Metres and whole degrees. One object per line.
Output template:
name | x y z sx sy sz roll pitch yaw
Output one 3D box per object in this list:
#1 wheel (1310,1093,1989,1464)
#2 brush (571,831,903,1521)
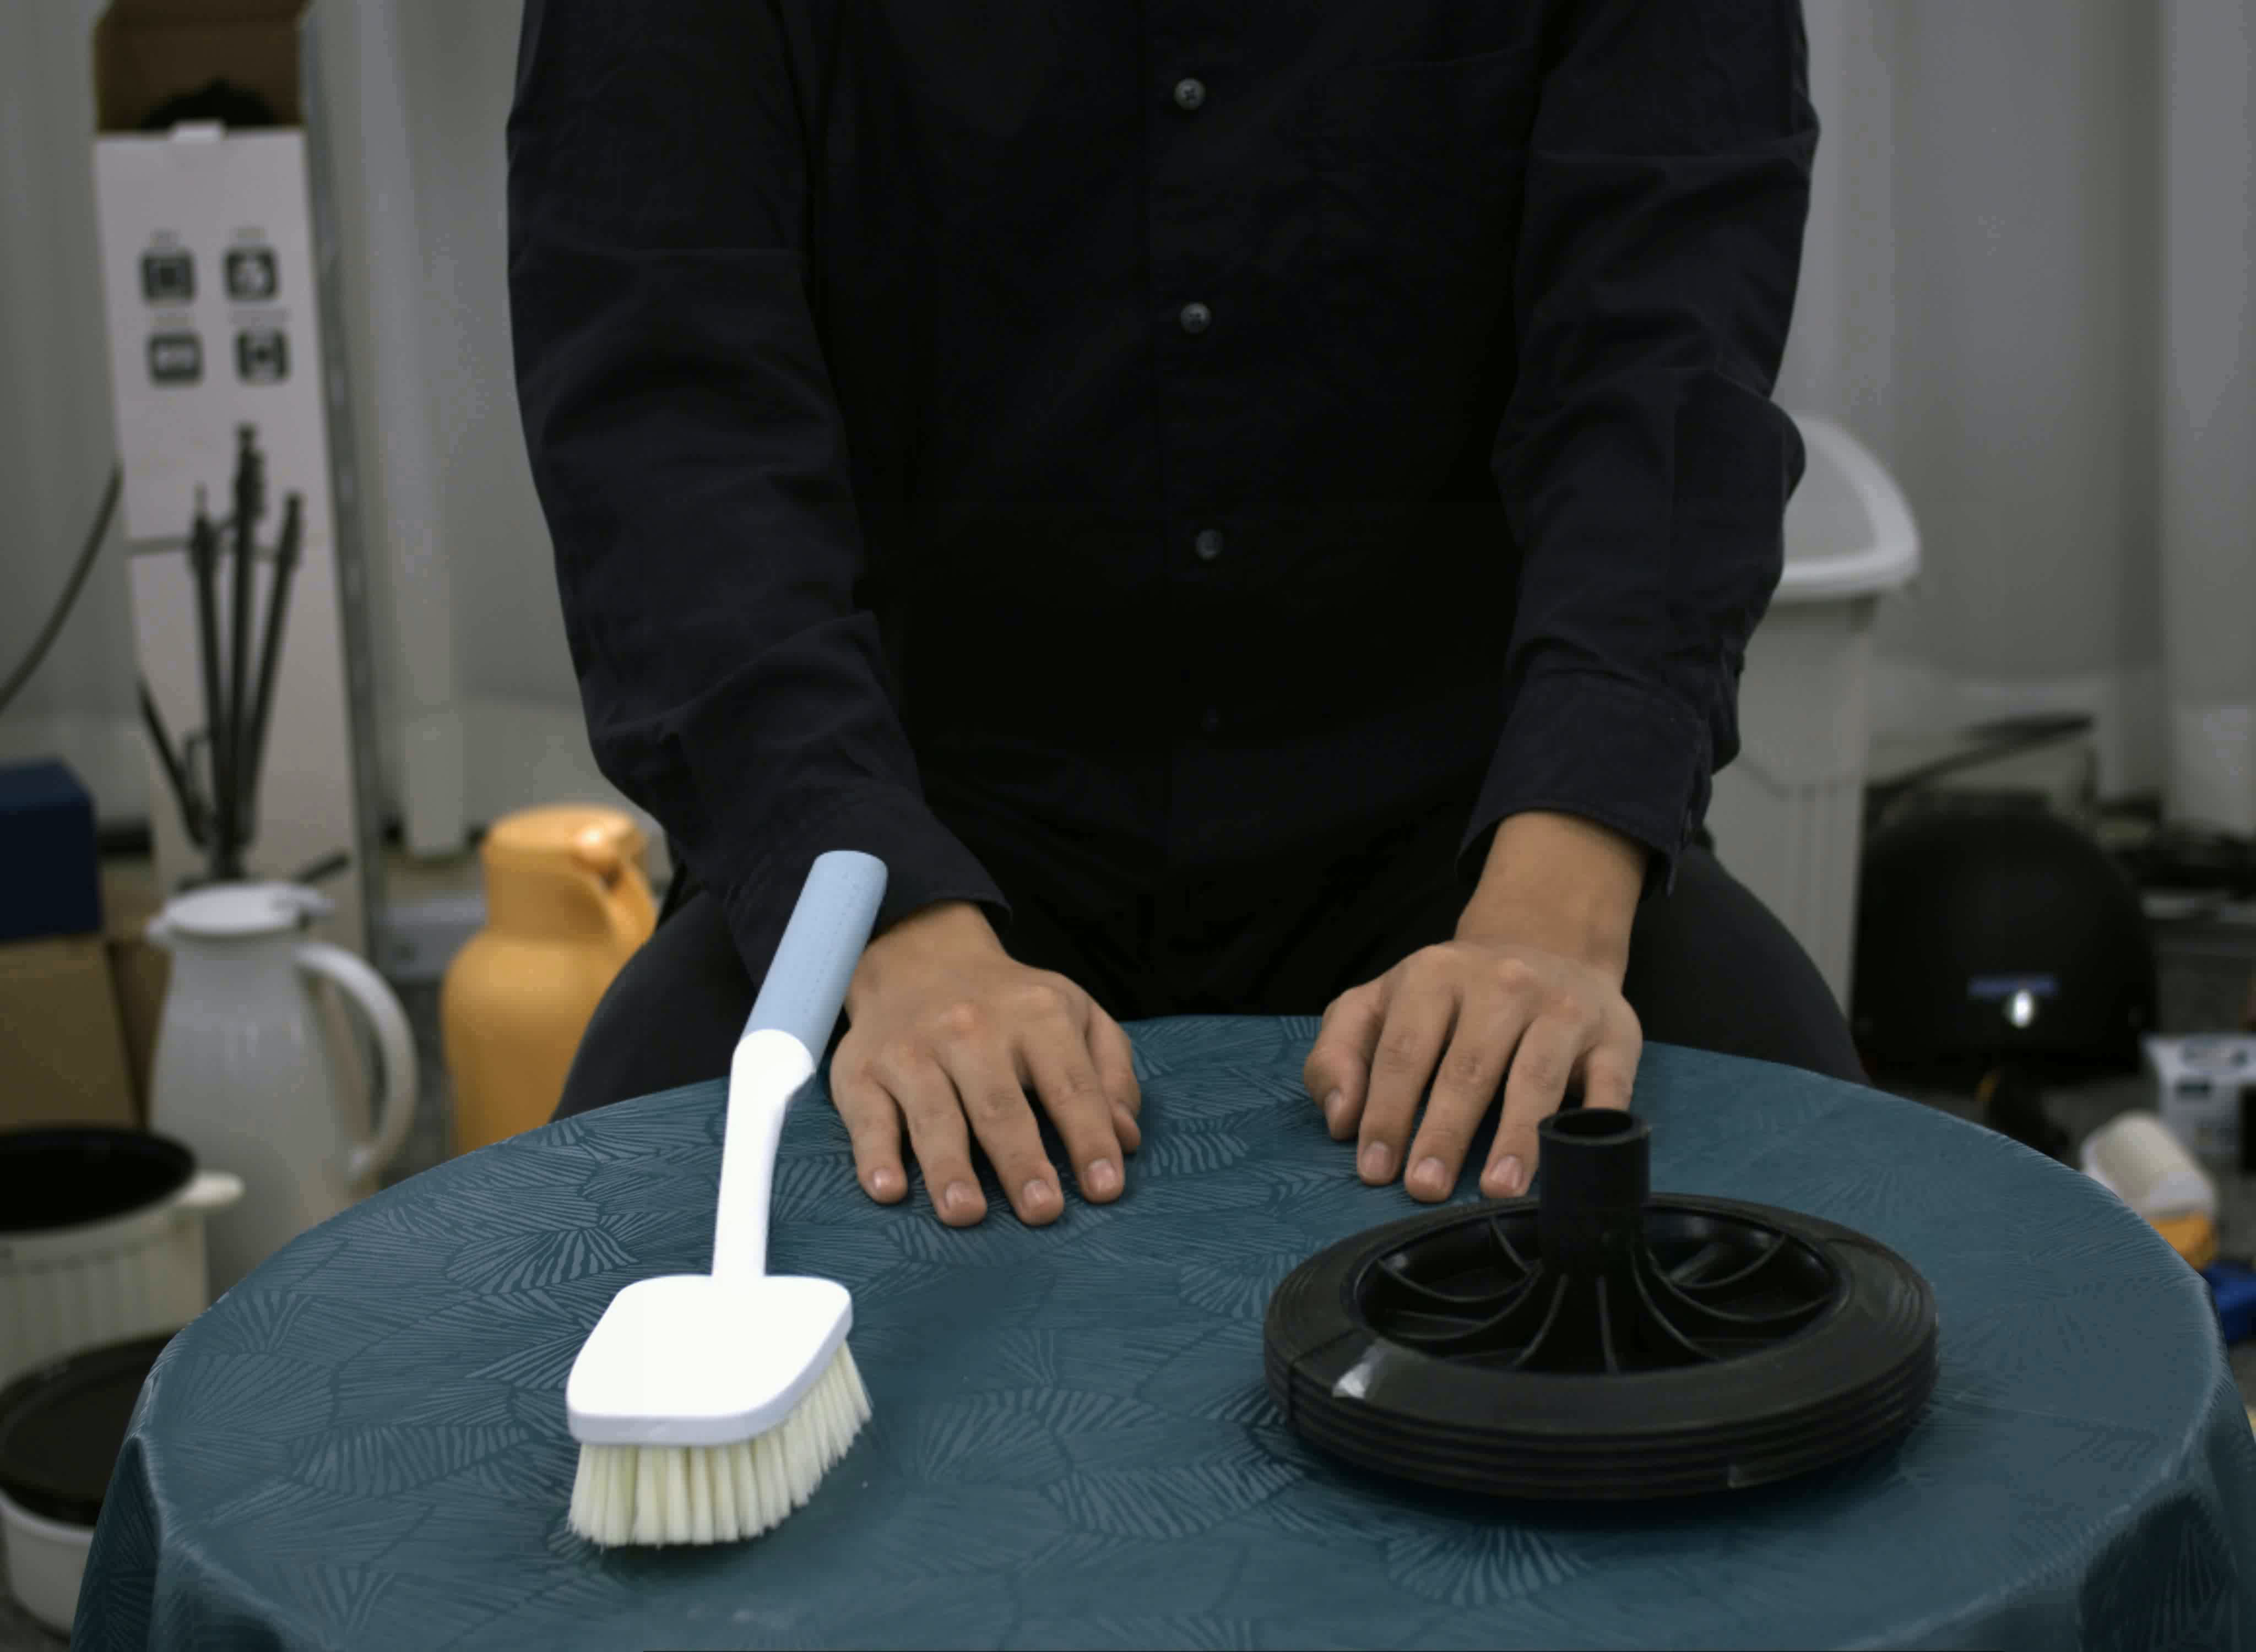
wheel | 0.144 0.117 1.524 0.190 0.079 0.187 6 18 37
brush | -0.097 0.113 1.585 0.083 0.084 0.329 33 27 -8
